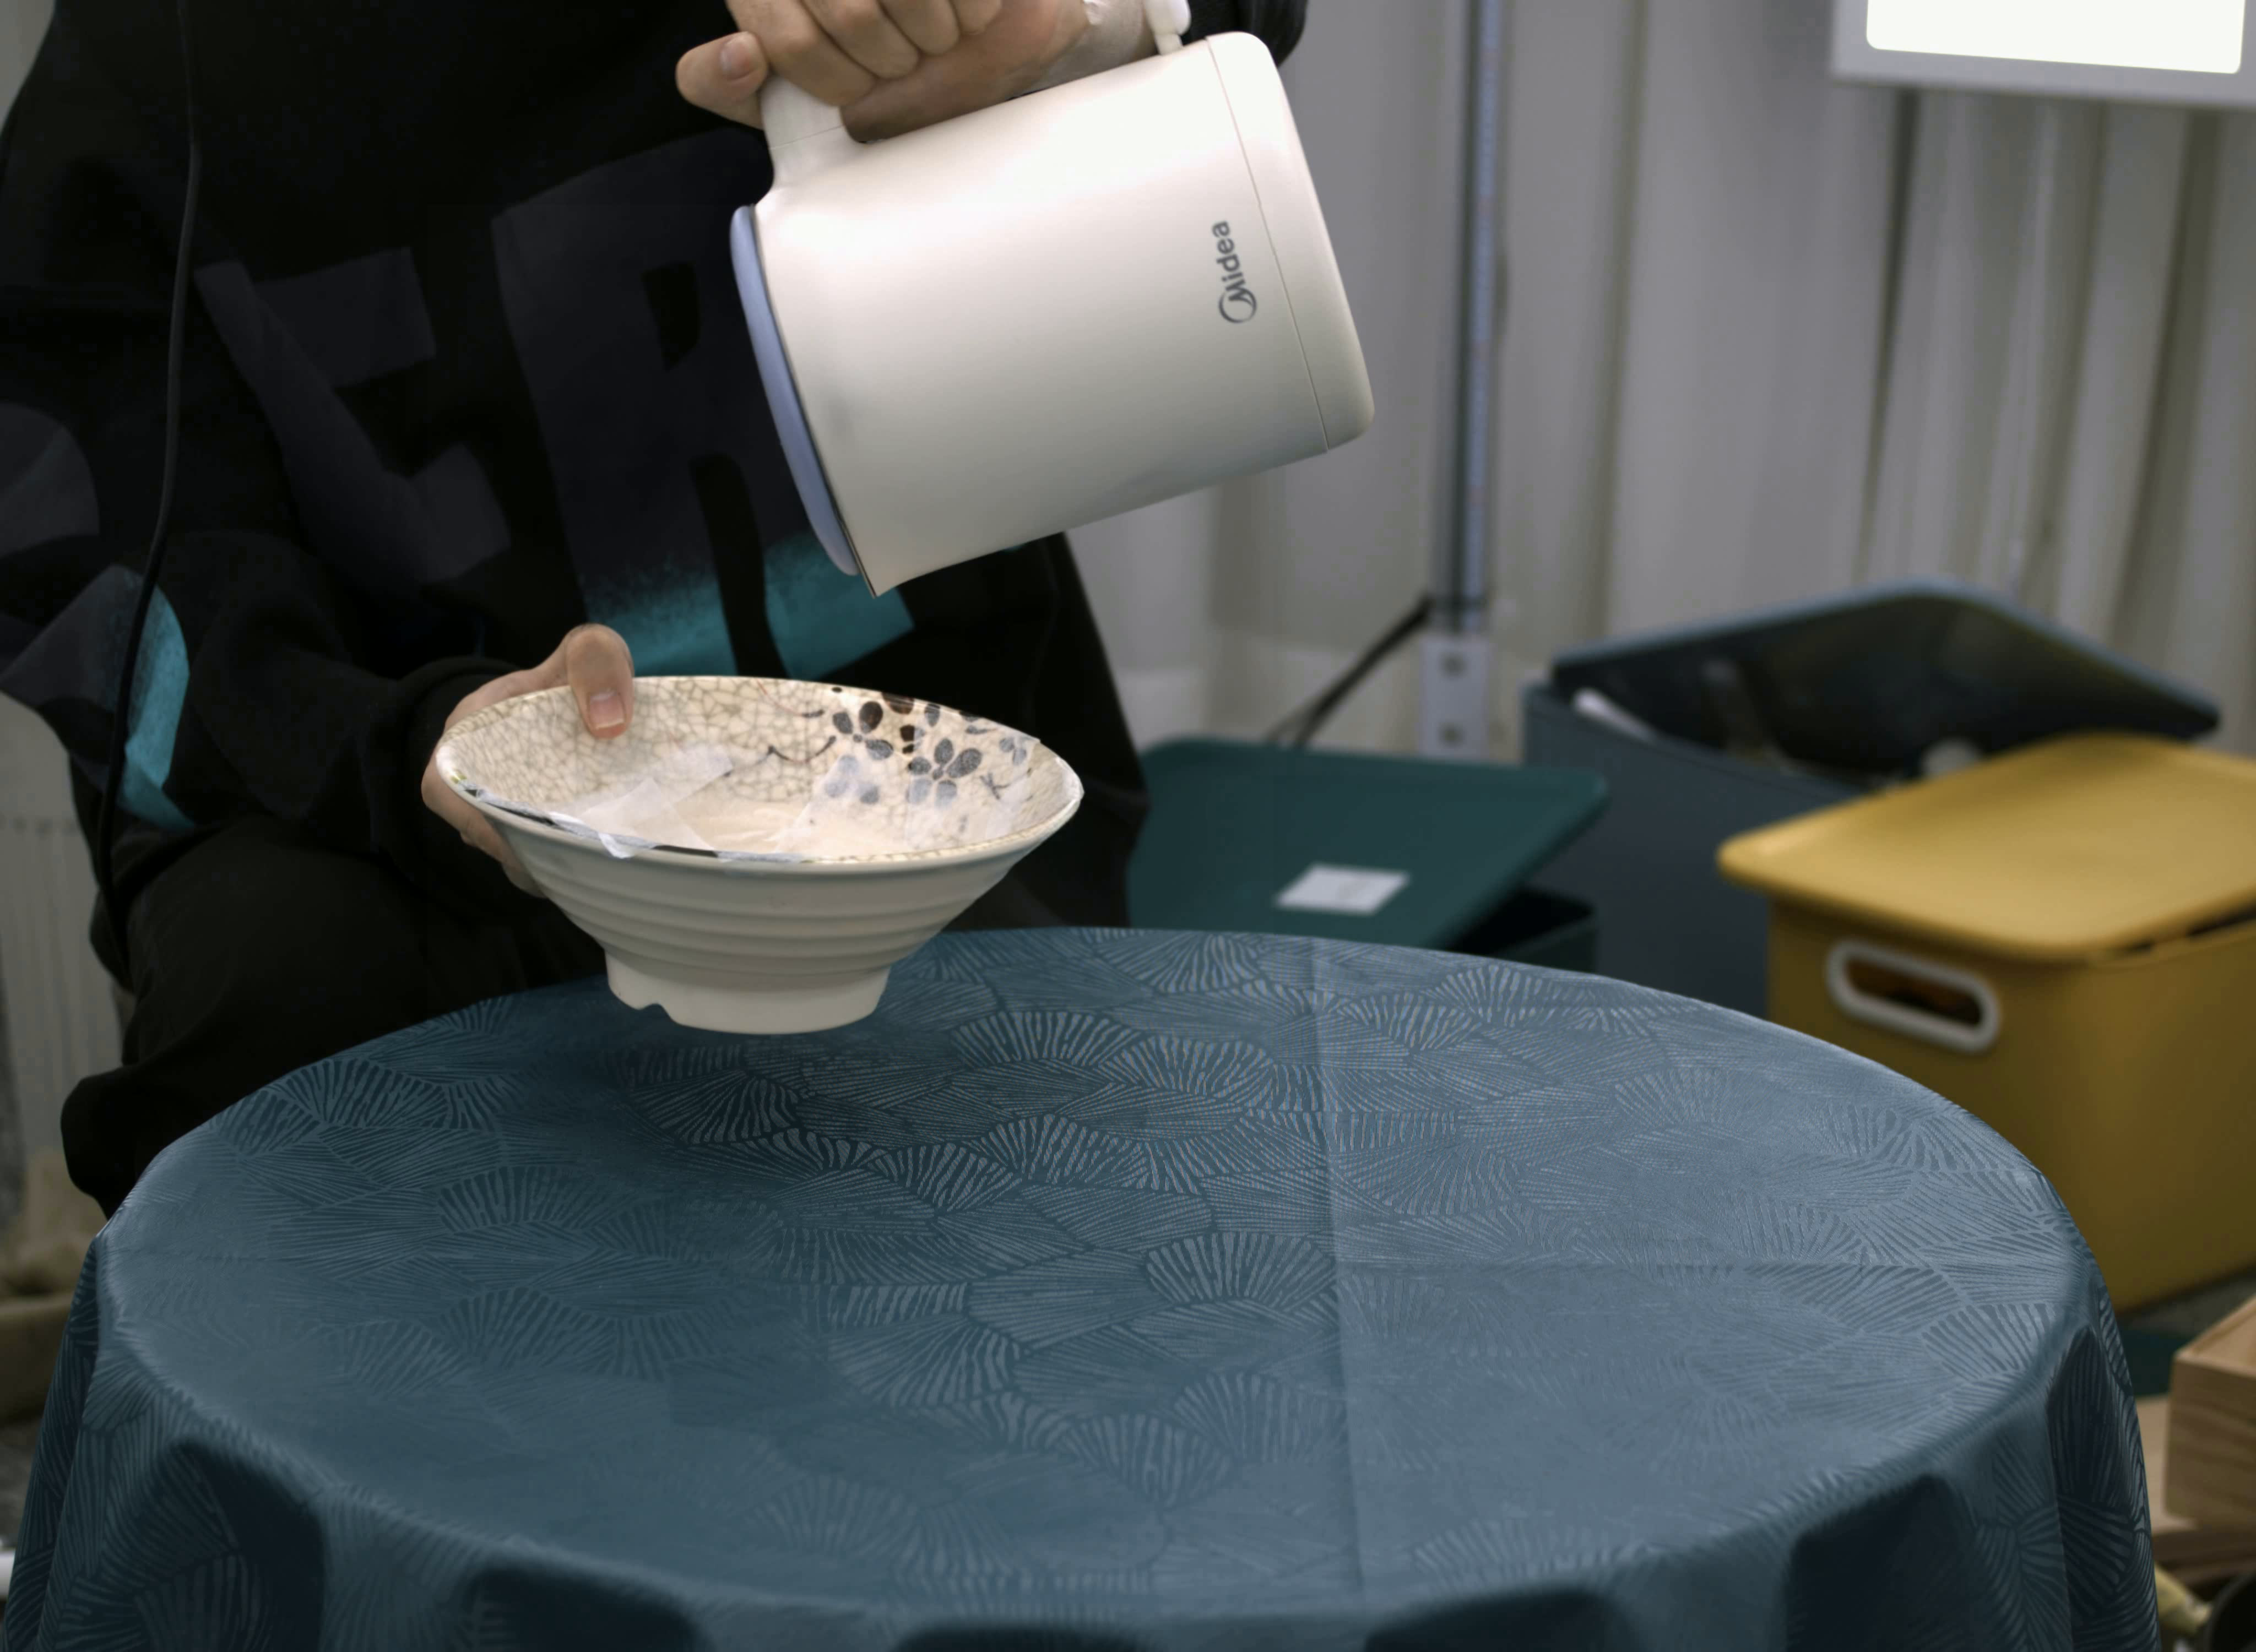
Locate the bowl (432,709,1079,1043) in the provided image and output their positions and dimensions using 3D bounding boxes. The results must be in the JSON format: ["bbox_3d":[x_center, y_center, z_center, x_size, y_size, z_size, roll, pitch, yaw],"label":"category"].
[{"bbox_3d":[-0.119,0.020,1.659,0.203,0.078,0.203,5,12,0],"label":"bowl"}]

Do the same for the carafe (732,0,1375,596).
[{"bbox_3d":[-0.028,-0.182,1.602,0.182,0.192,0.132,-14,8,0],"label":"carafe"}]
